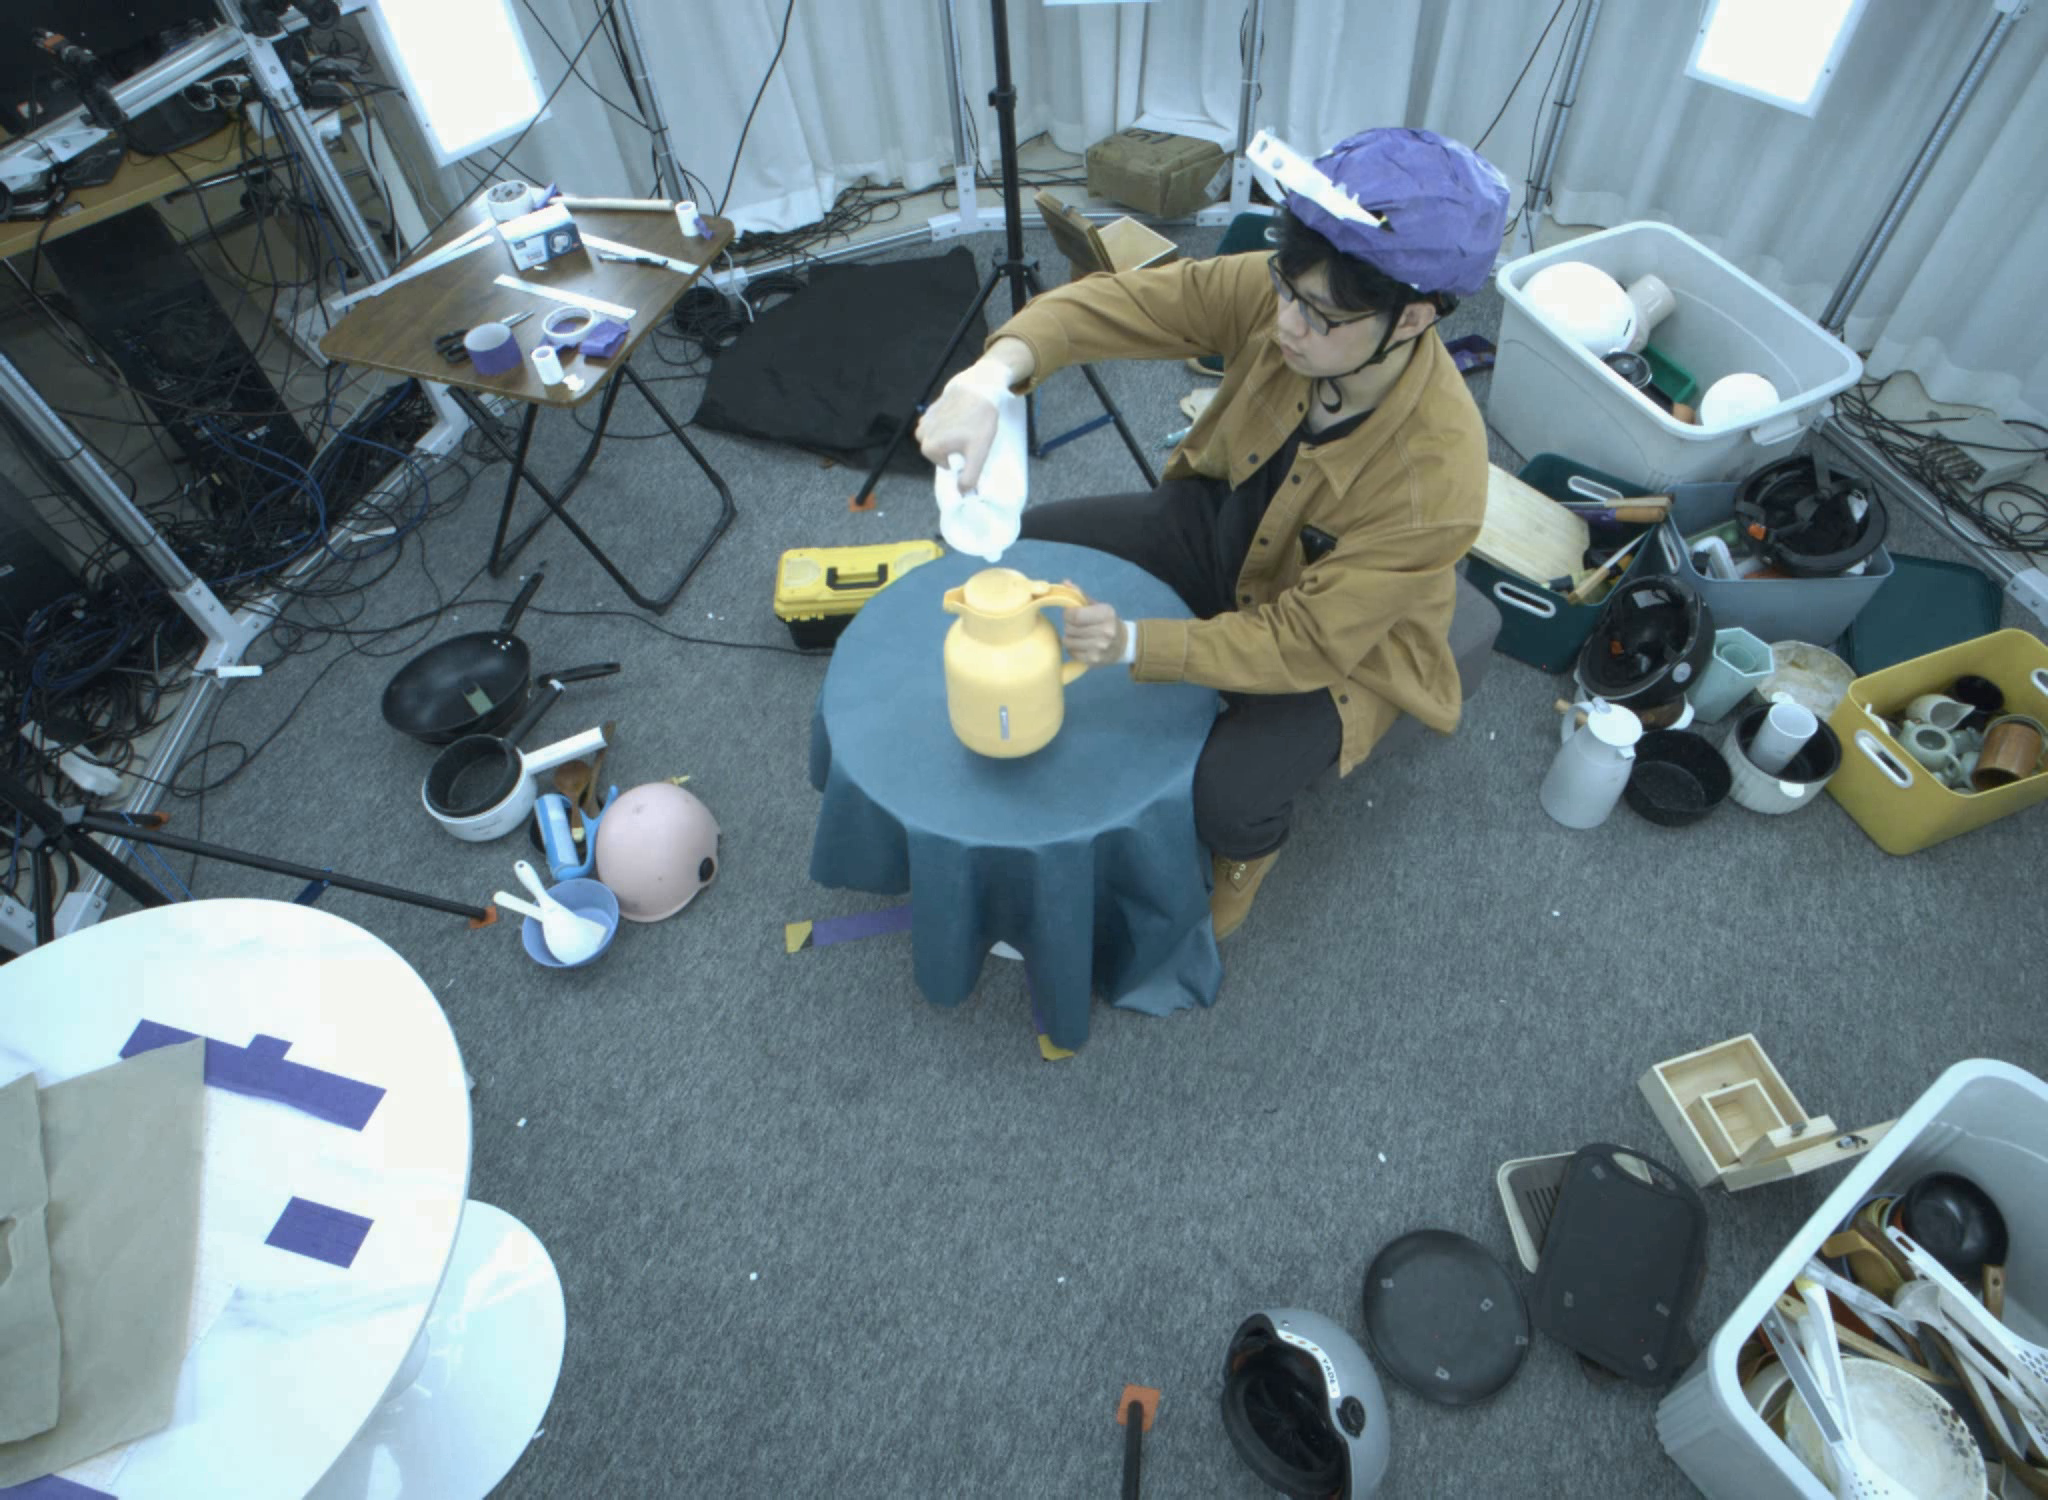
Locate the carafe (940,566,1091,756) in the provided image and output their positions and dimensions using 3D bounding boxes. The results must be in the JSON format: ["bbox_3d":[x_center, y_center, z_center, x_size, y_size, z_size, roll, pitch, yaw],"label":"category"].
[{"bbox_3d":[-0.010,-0.125,1.663,0.202,0.263,0.161,-3,48,2],"label":"carafe"}]

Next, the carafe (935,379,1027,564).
[{"bbox_3d":[-0.062,-0.383,1.558,0.123,0.176,0.266,-9,49,12],"label":"carafe"}]
